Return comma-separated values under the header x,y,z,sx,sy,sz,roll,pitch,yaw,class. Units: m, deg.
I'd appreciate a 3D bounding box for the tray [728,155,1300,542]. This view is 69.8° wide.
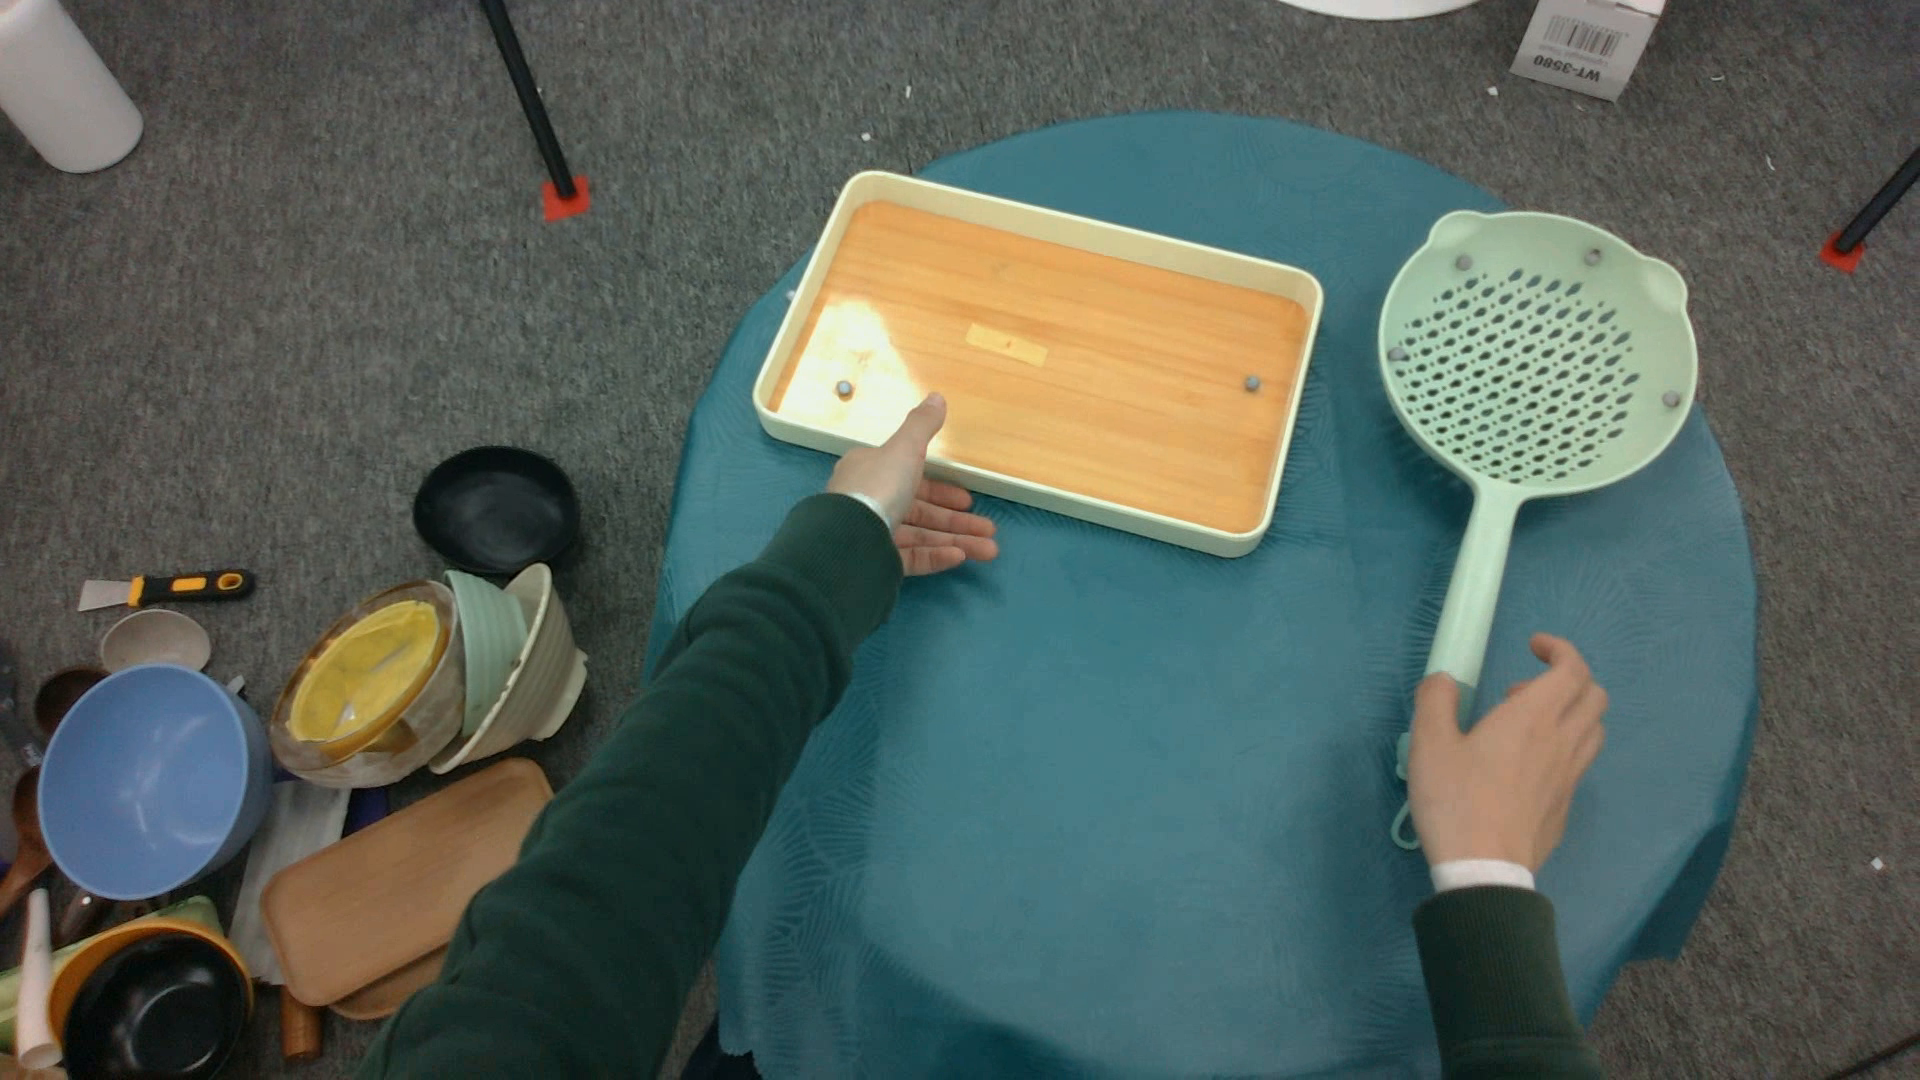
x,y,z,sx,sy,sz,roll,pitch,yaw,class
0.035,-0.118,0.804,0.300,0.027,0.192,15,64,7,tray

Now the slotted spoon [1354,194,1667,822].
x,y,z,sx,sy,sz,roll,pitch,yaw,class
0.271,-0.025,0.738,0.169,0.075,0.360,17,64,8,slotted spoon
